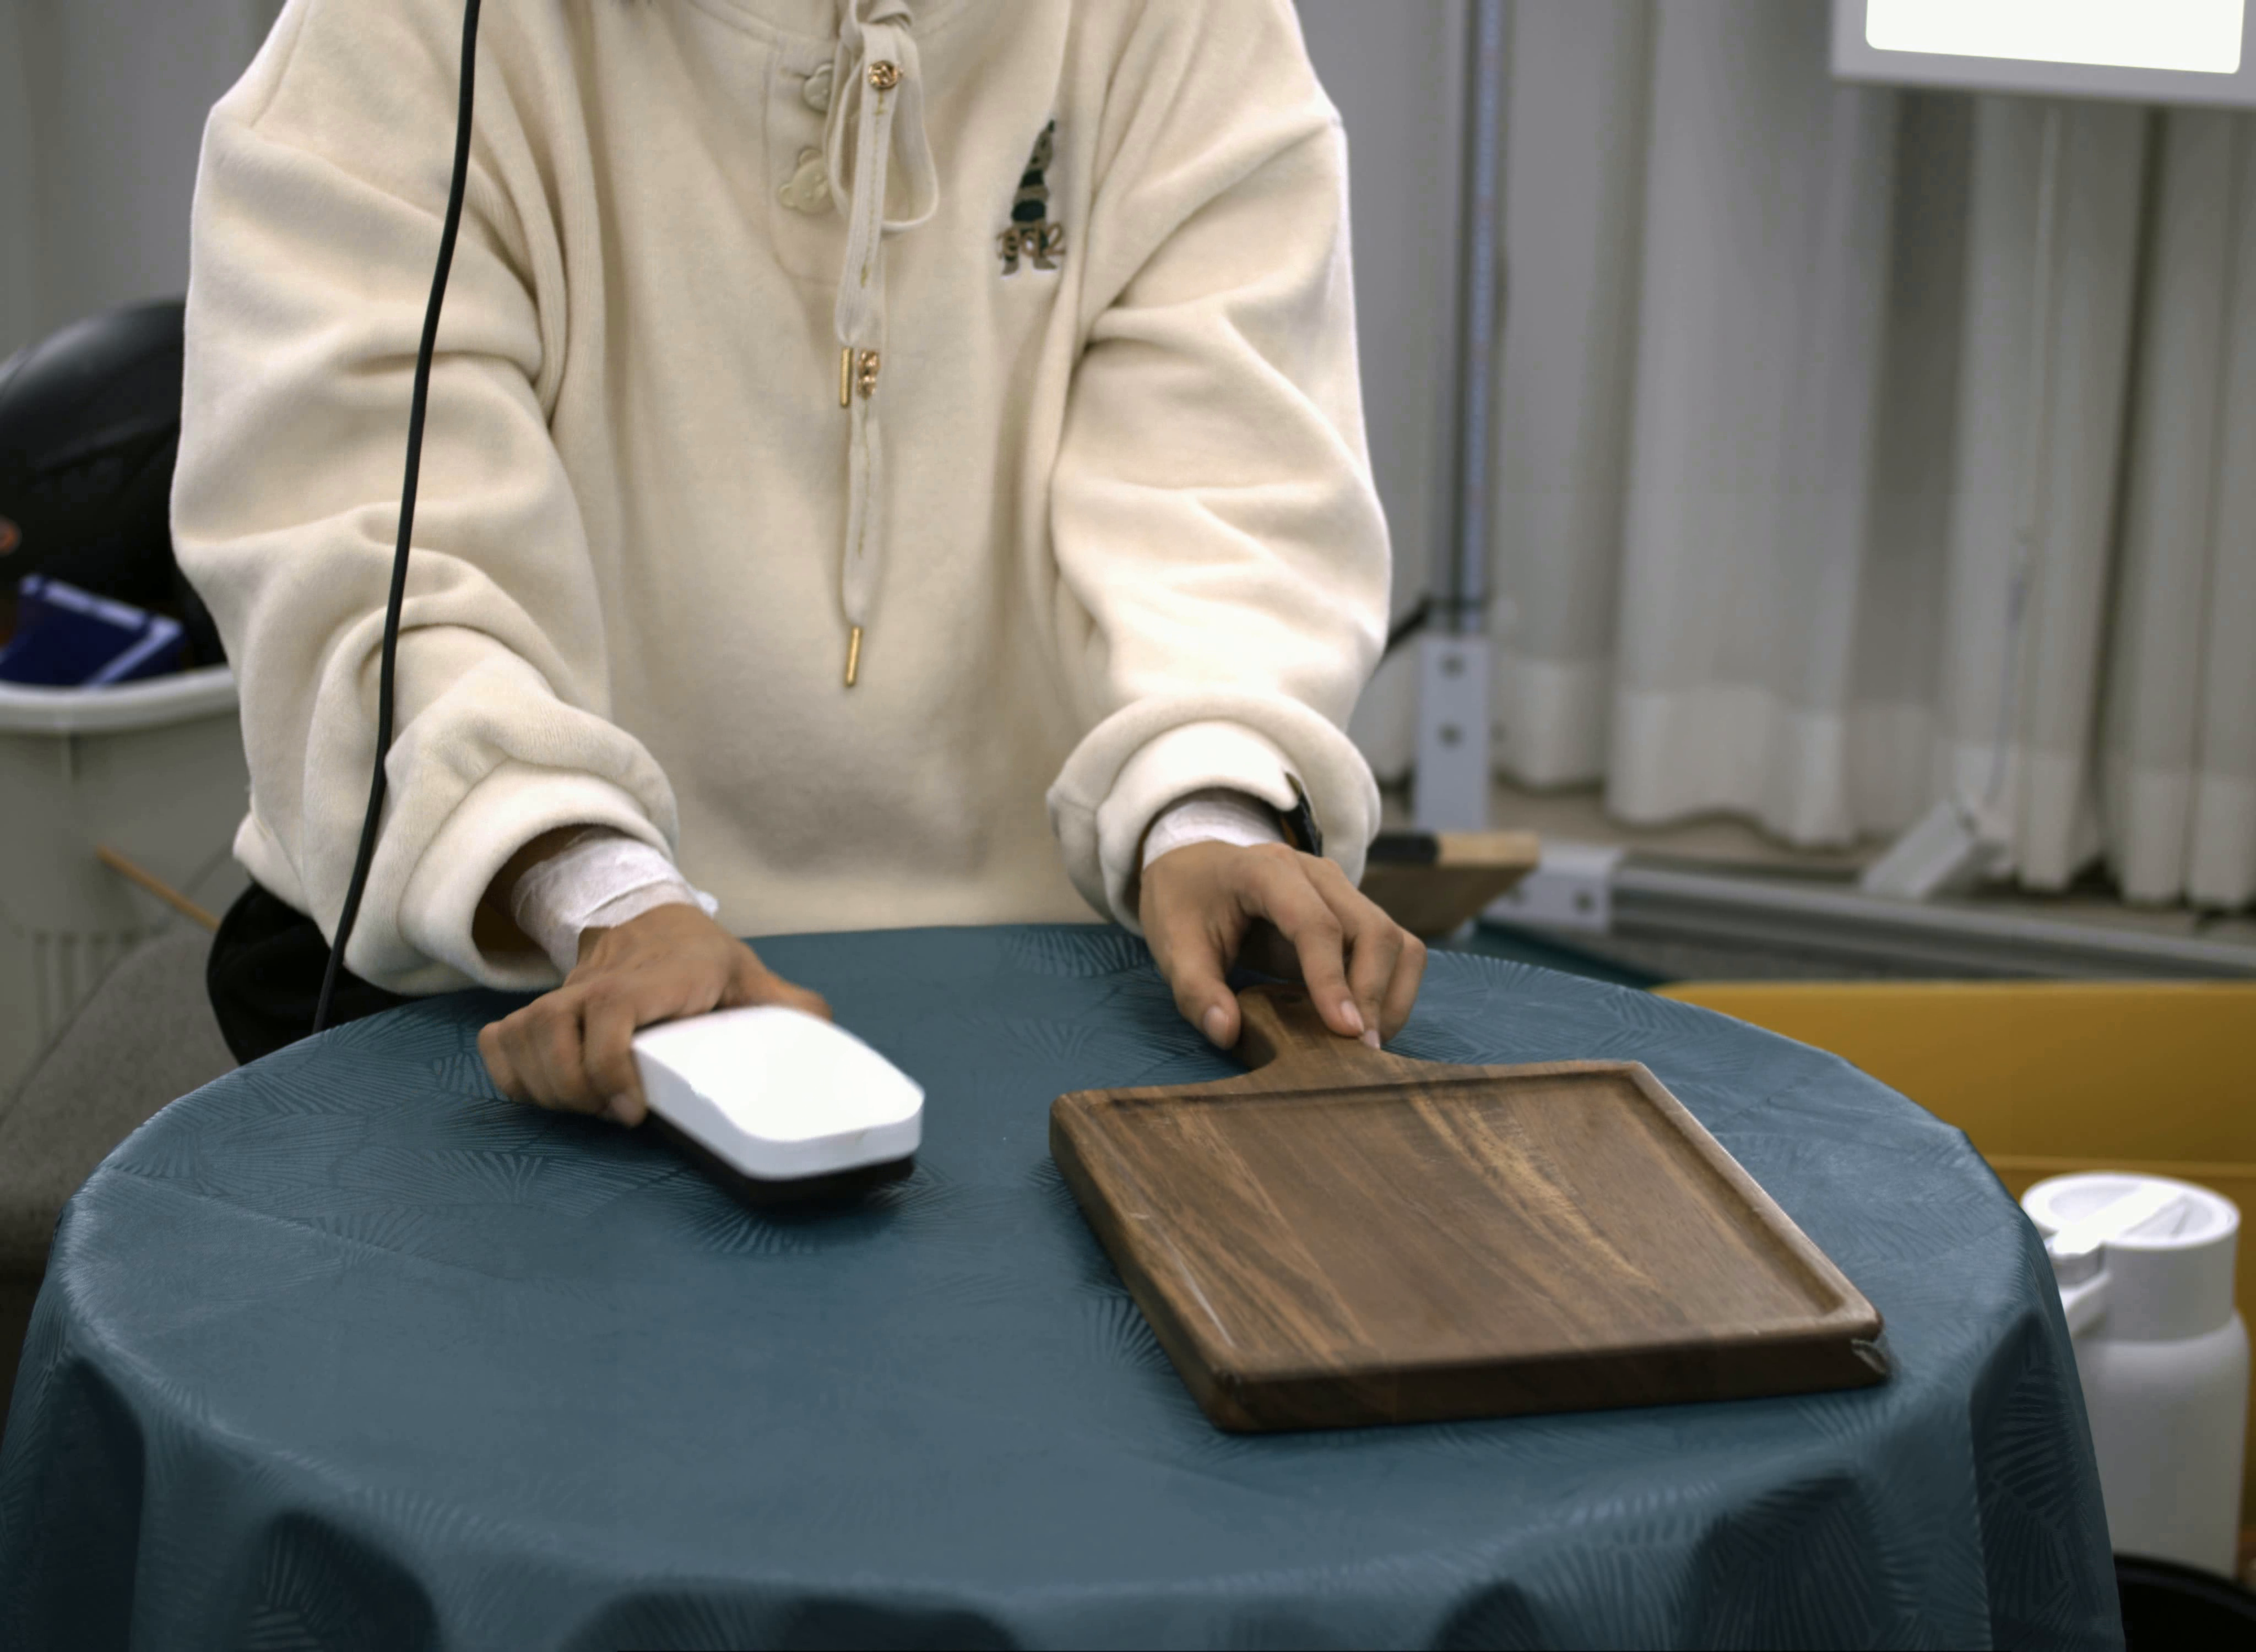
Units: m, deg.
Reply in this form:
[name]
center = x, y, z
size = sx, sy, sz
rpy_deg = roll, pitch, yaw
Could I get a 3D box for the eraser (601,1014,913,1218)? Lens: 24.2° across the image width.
[eraser]
center = -0.115, 0.085, 1.636
size = 0.063, 0.035, 0.129
rpy_deg = -8, 18, -25

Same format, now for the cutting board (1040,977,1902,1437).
[cutting board]
center = 0.084, 0.106, 1.604
size = 0.201, 0.023, 0.349
rpy_deg = -2, 16, -12
